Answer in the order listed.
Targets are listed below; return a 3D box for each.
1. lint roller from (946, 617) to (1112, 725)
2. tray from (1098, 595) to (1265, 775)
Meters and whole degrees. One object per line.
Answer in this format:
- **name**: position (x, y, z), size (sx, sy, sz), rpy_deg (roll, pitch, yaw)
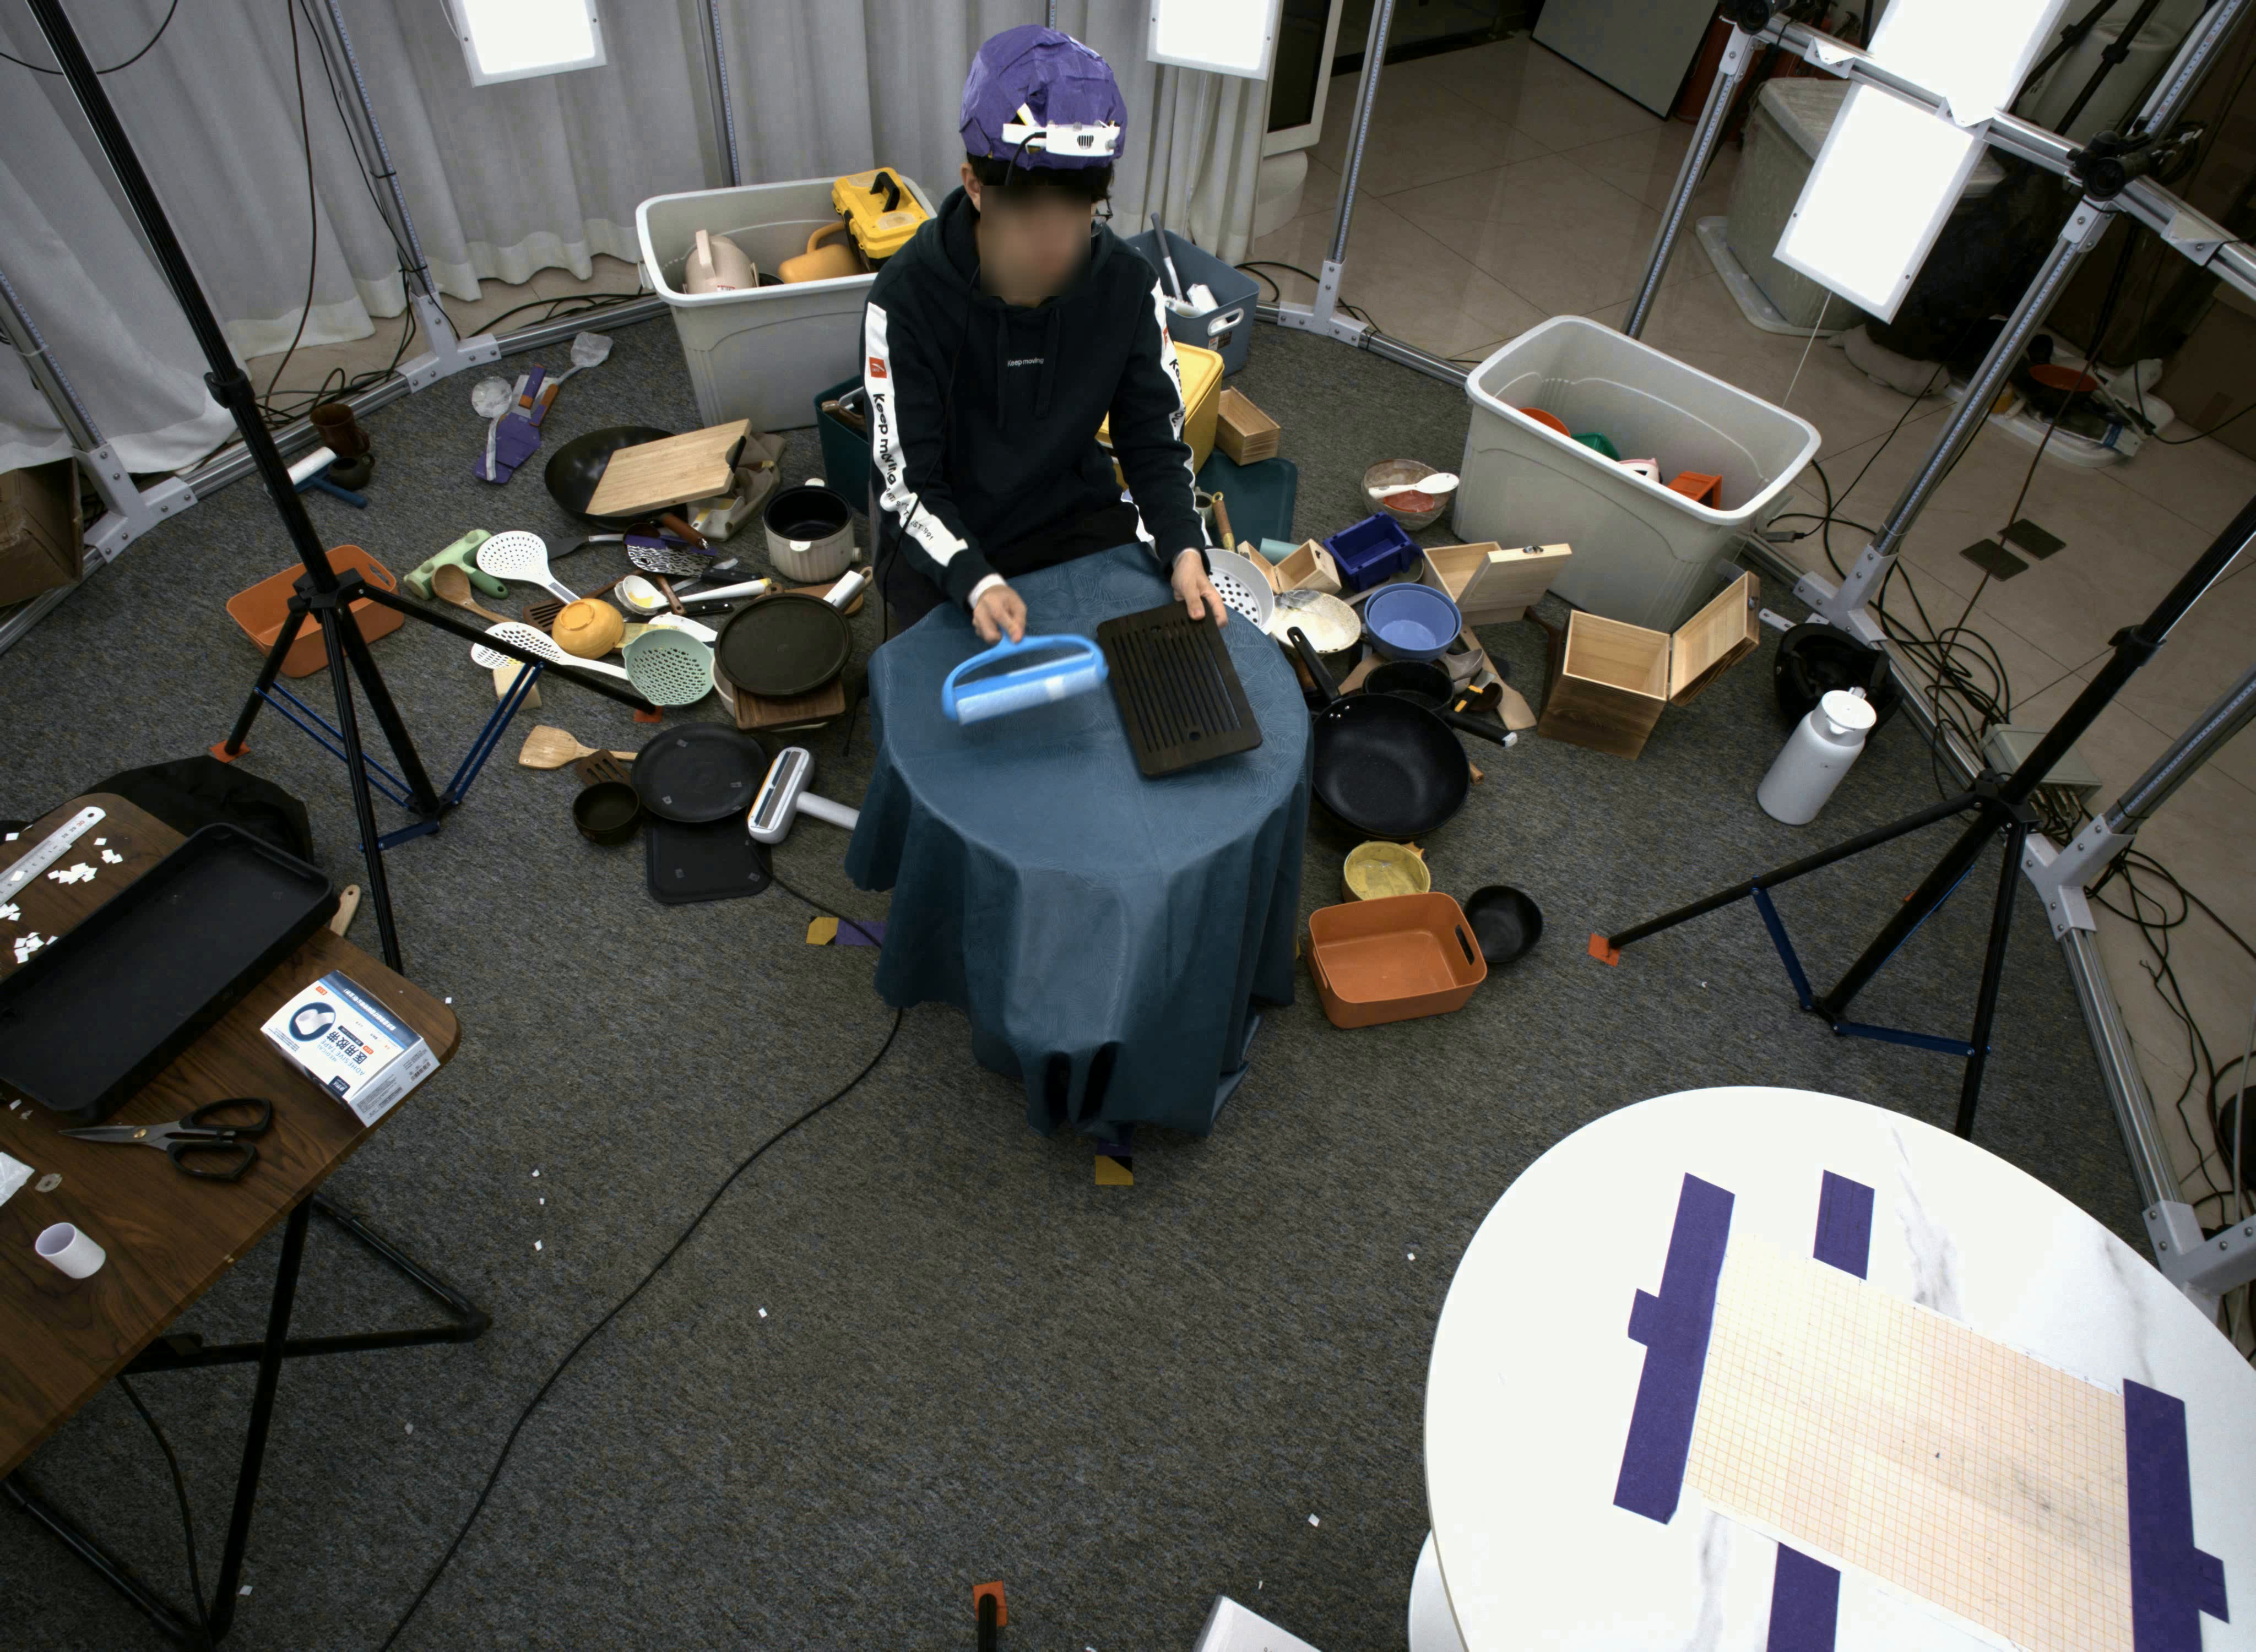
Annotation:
- **lint roller**: position (-0.152, -0.236, 1.756), size (0.229, 0.066, 0.184), rpy_deg (-20, 56, -7)
- **tray**: position (0.070, -0.204, 1.813), size (0.170, 0.018, 0.313), rpy_deg (-16, 51, -2)
